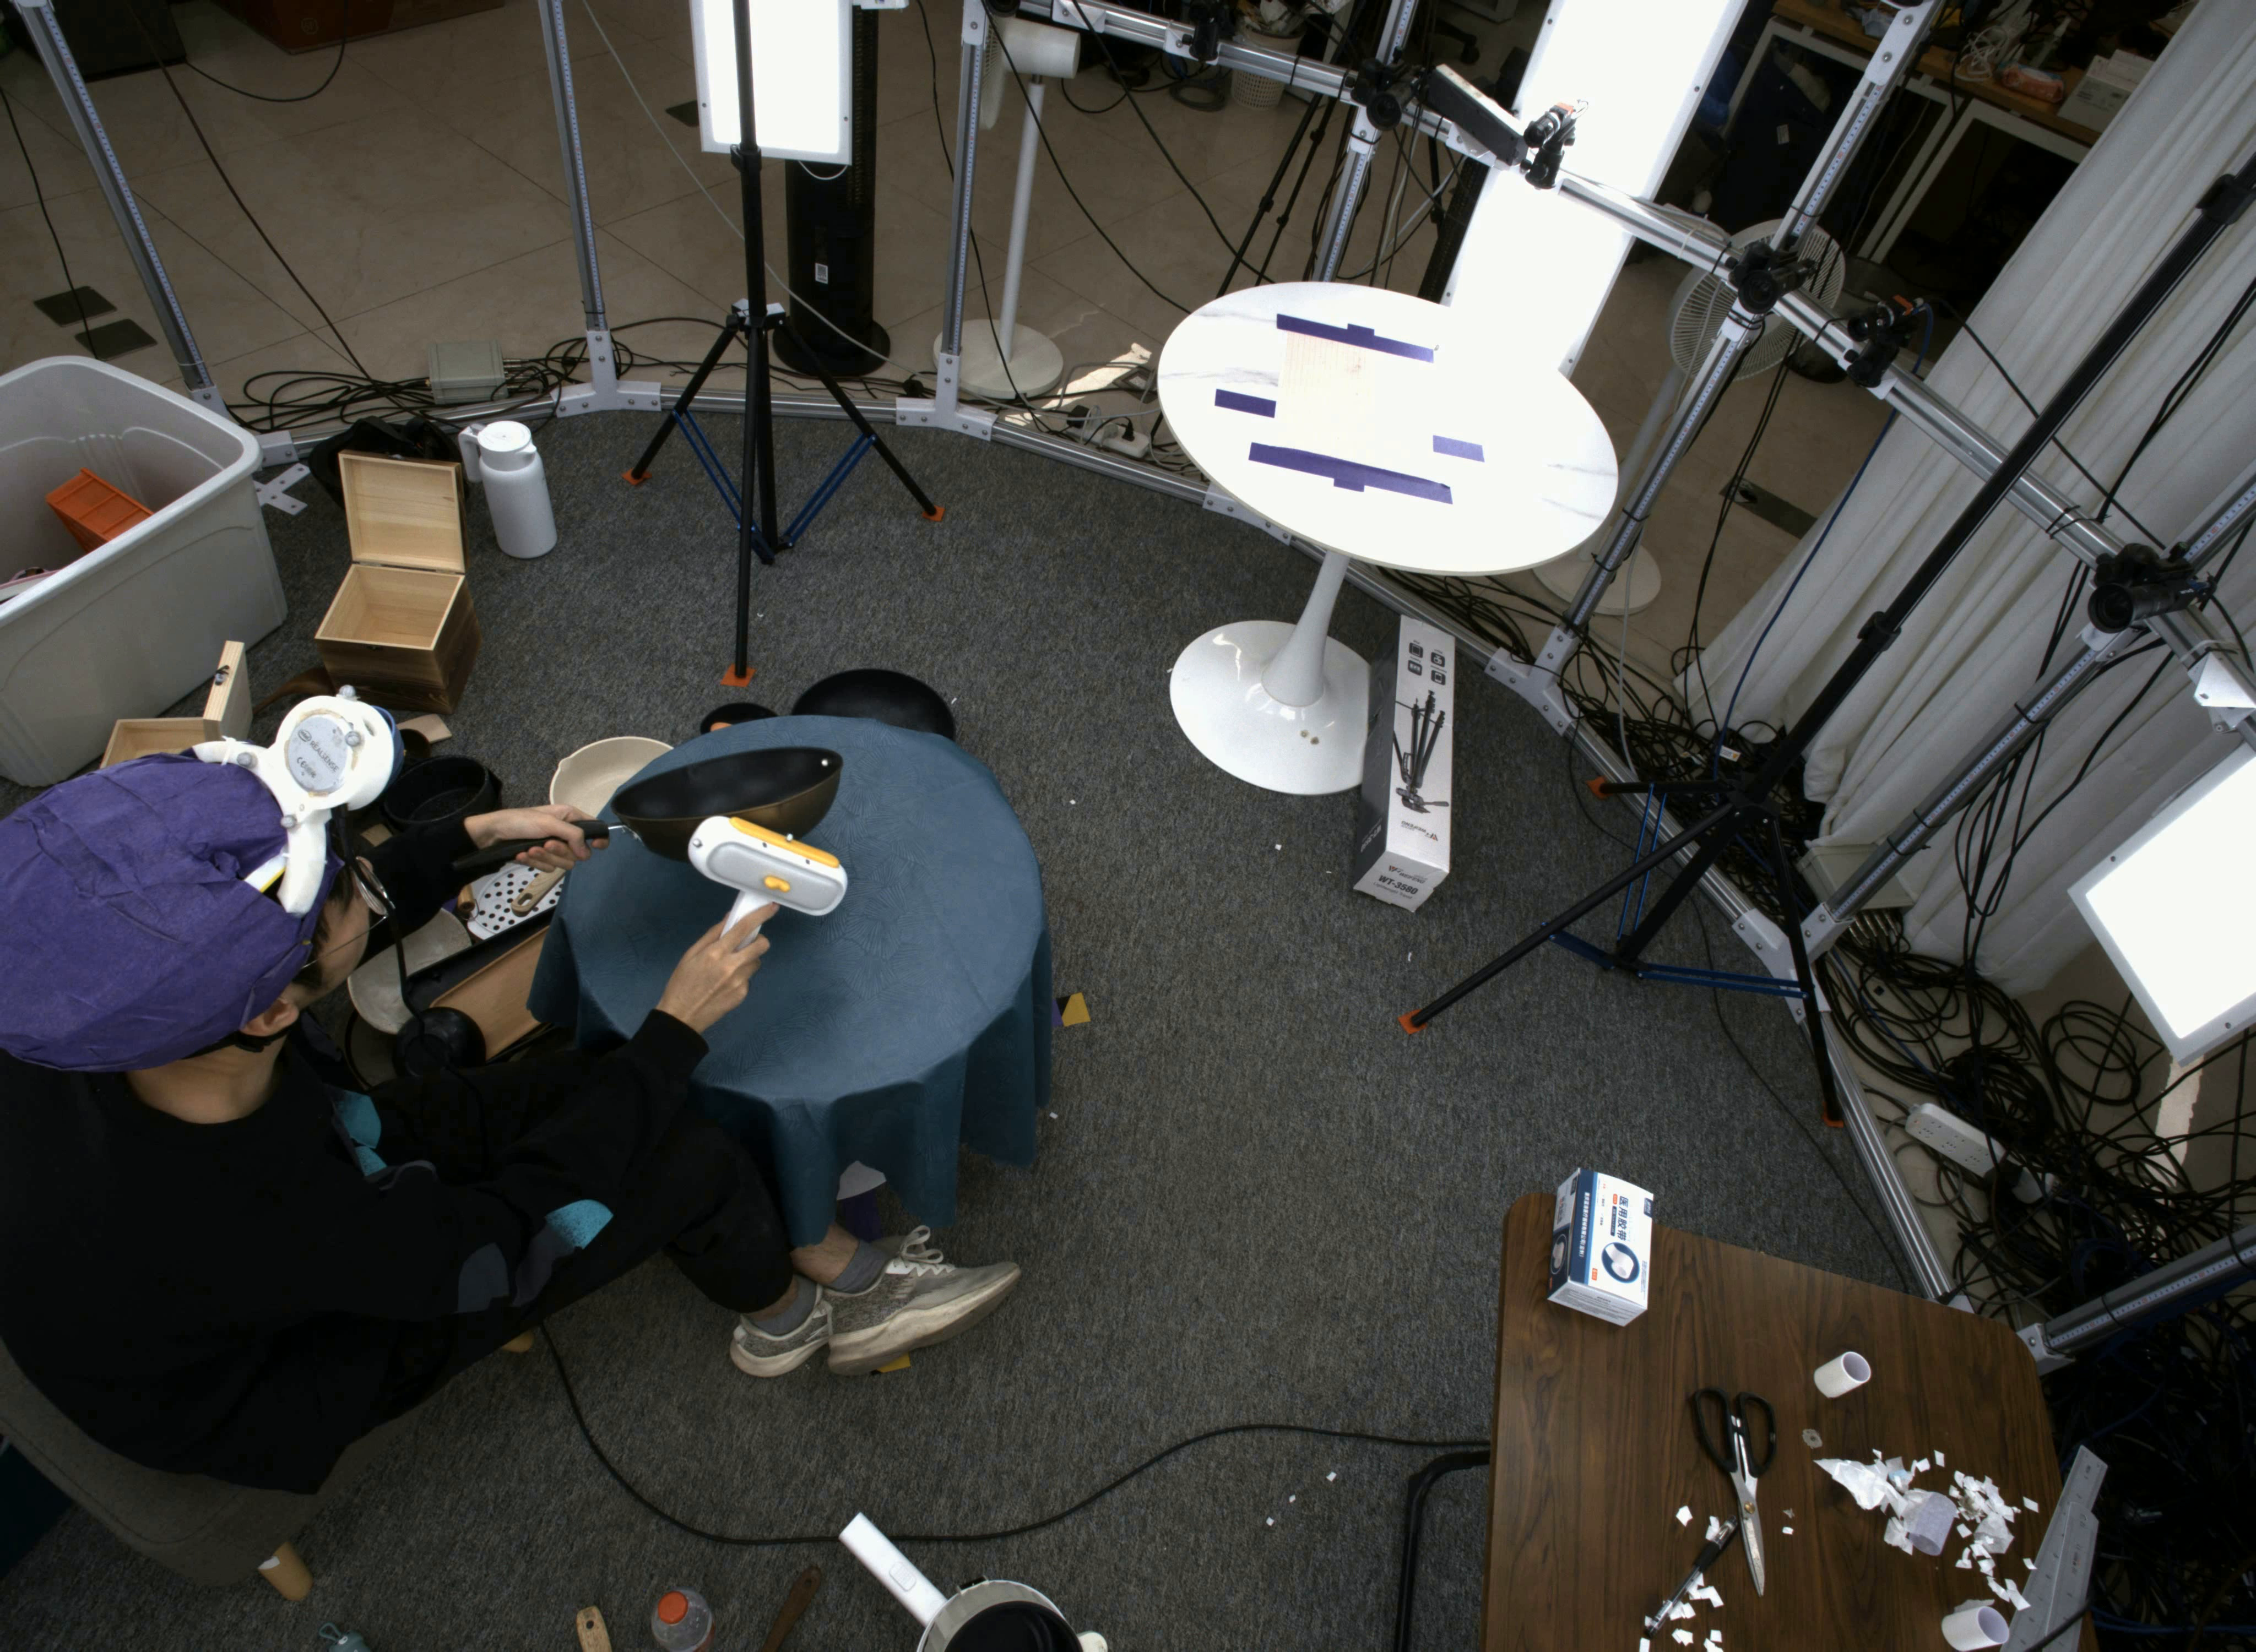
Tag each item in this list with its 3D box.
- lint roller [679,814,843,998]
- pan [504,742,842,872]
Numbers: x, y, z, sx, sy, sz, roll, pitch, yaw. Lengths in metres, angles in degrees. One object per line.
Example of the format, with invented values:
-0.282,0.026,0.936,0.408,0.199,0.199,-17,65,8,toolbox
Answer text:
-0.432,0.096,1.460,0.198,0.194,0.071,20,13,-47,lint roller
-0.550,0.004,1.520,0.467,0.089,0.277,-21,24,-34,pan
